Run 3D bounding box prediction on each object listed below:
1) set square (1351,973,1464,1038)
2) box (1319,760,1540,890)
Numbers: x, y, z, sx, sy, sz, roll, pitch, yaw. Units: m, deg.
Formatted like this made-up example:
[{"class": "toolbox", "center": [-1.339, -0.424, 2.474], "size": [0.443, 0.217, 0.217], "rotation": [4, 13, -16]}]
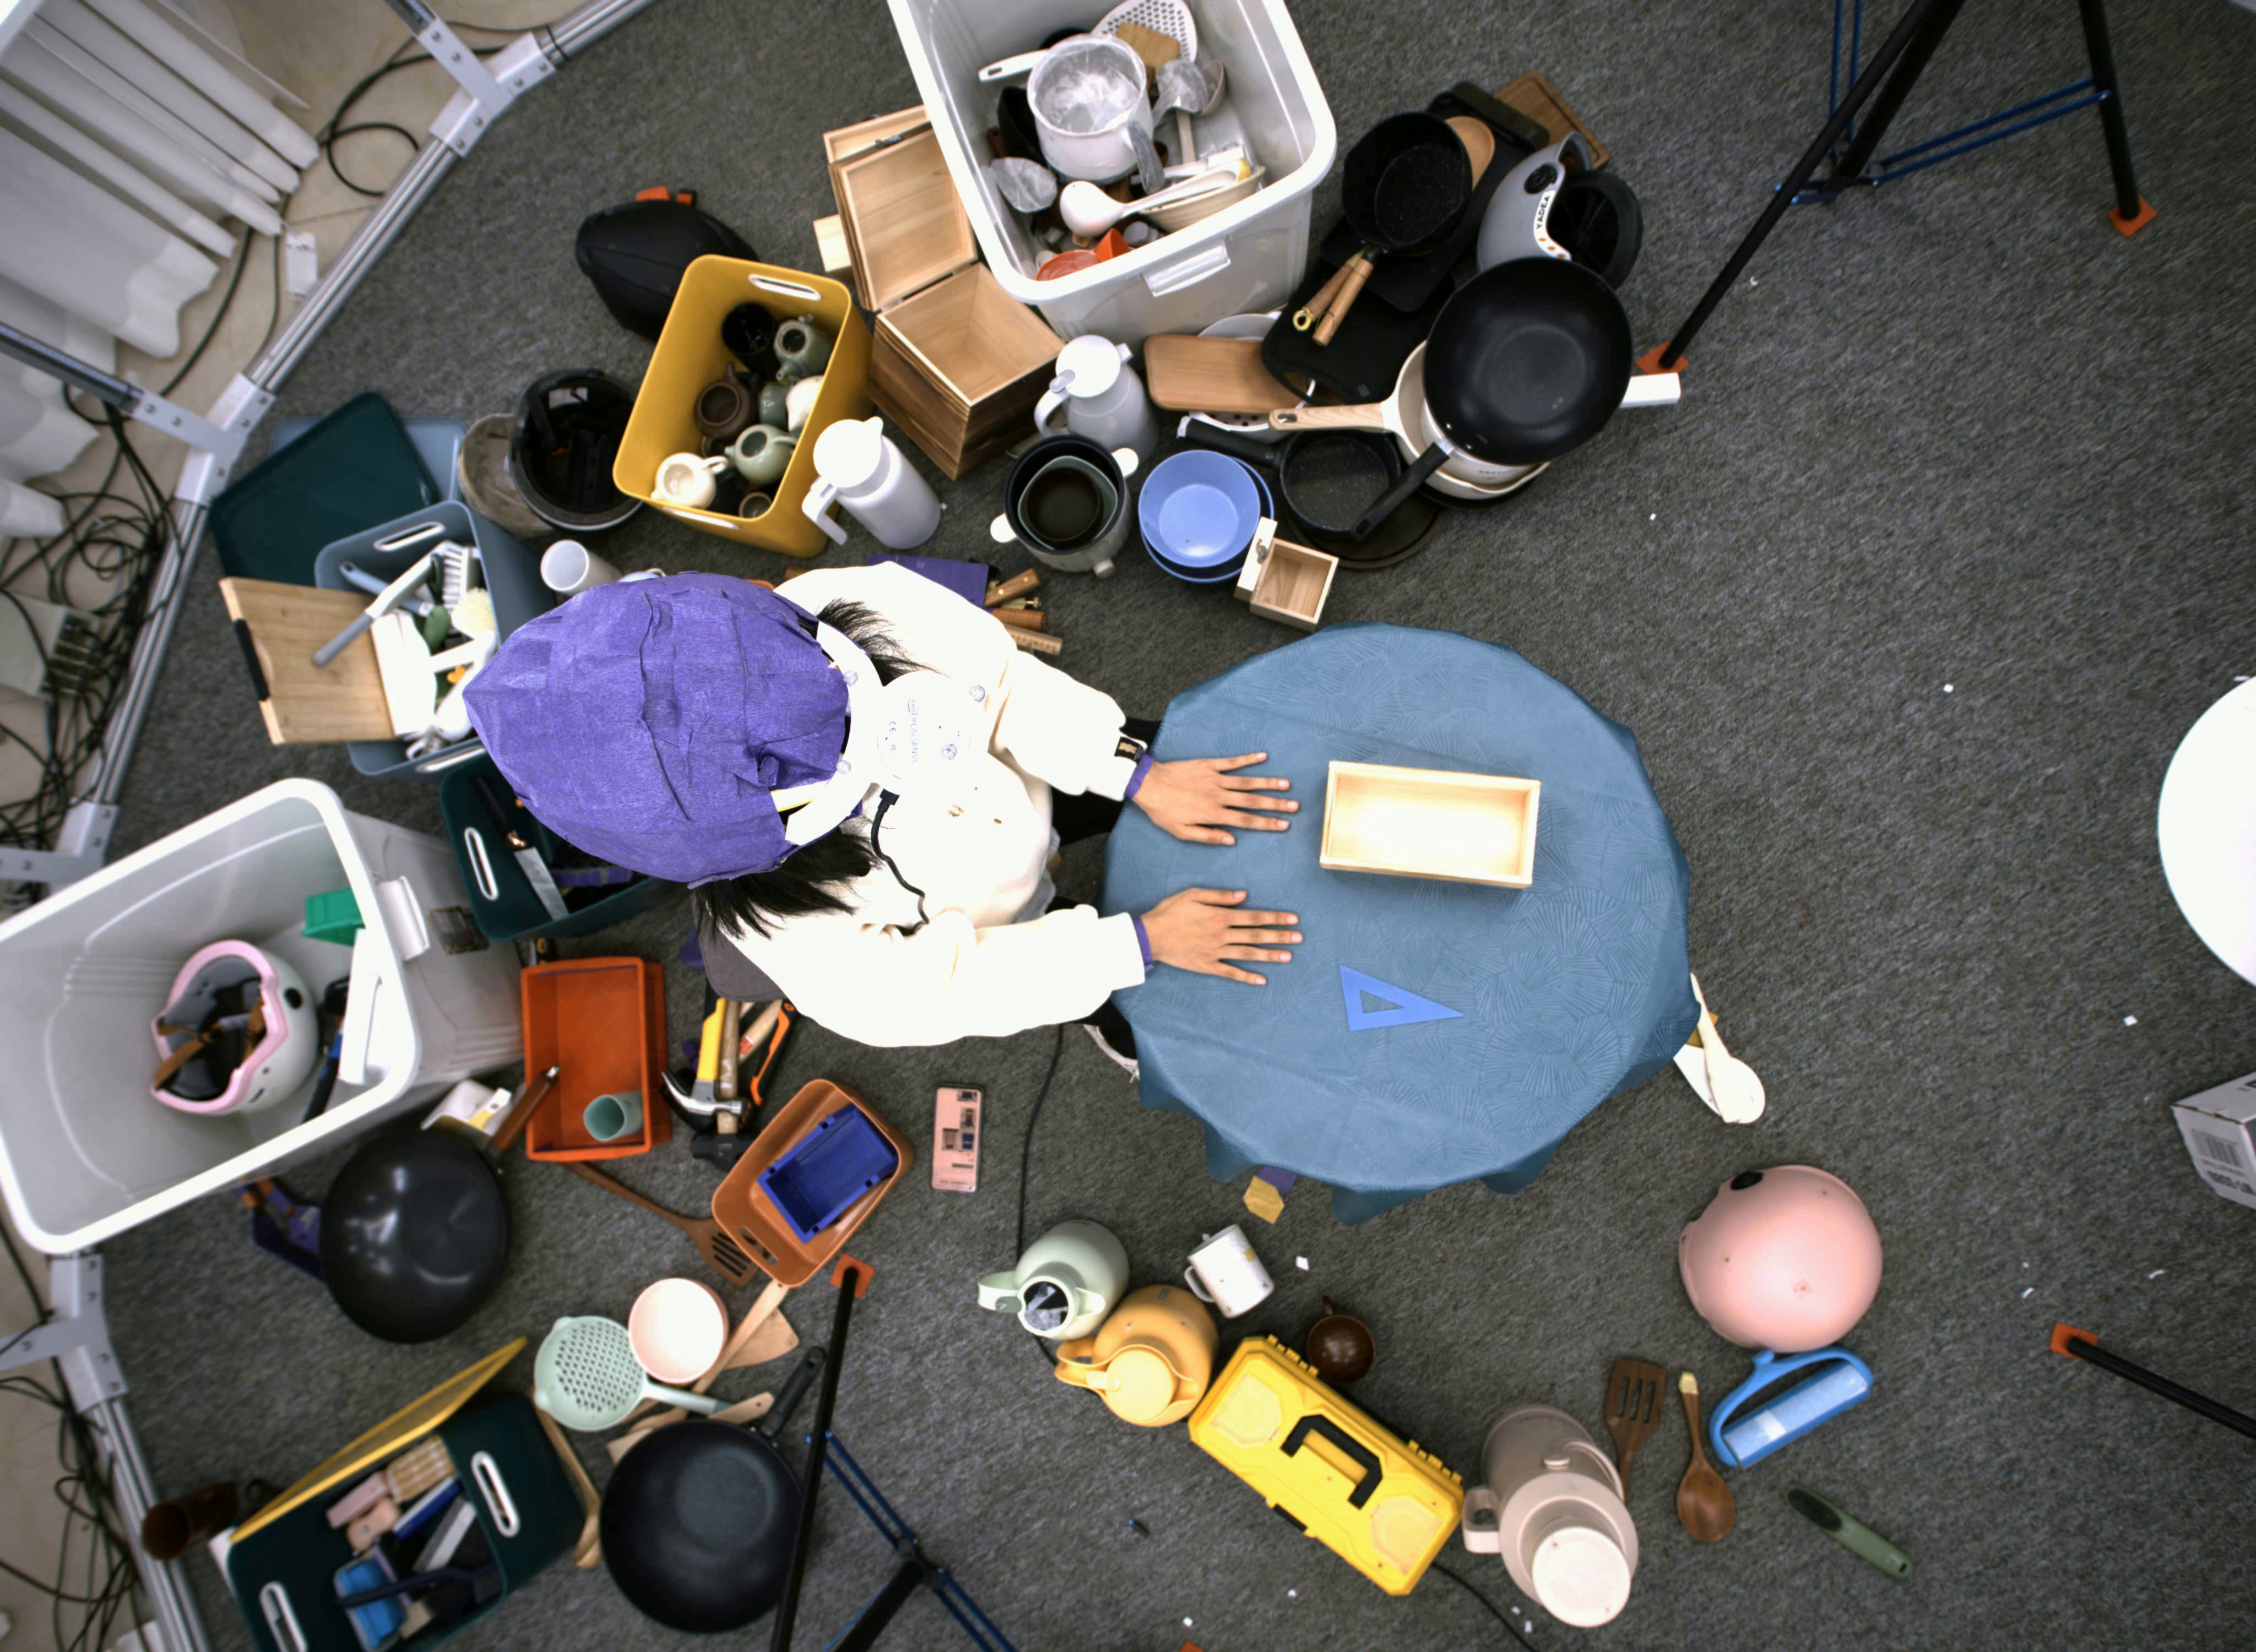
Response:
[{"class": "set square", "center": [0.282, 0.206, 1.448], "size": [0.132, 0.006, 0.061], "rotation": [26, 91, 11]}, {"class": "box", "center": [0.307, -0.002, 1.417], "size": [0.212, 0.080, 0.107], "rotation": [5, 86, 10]}]
